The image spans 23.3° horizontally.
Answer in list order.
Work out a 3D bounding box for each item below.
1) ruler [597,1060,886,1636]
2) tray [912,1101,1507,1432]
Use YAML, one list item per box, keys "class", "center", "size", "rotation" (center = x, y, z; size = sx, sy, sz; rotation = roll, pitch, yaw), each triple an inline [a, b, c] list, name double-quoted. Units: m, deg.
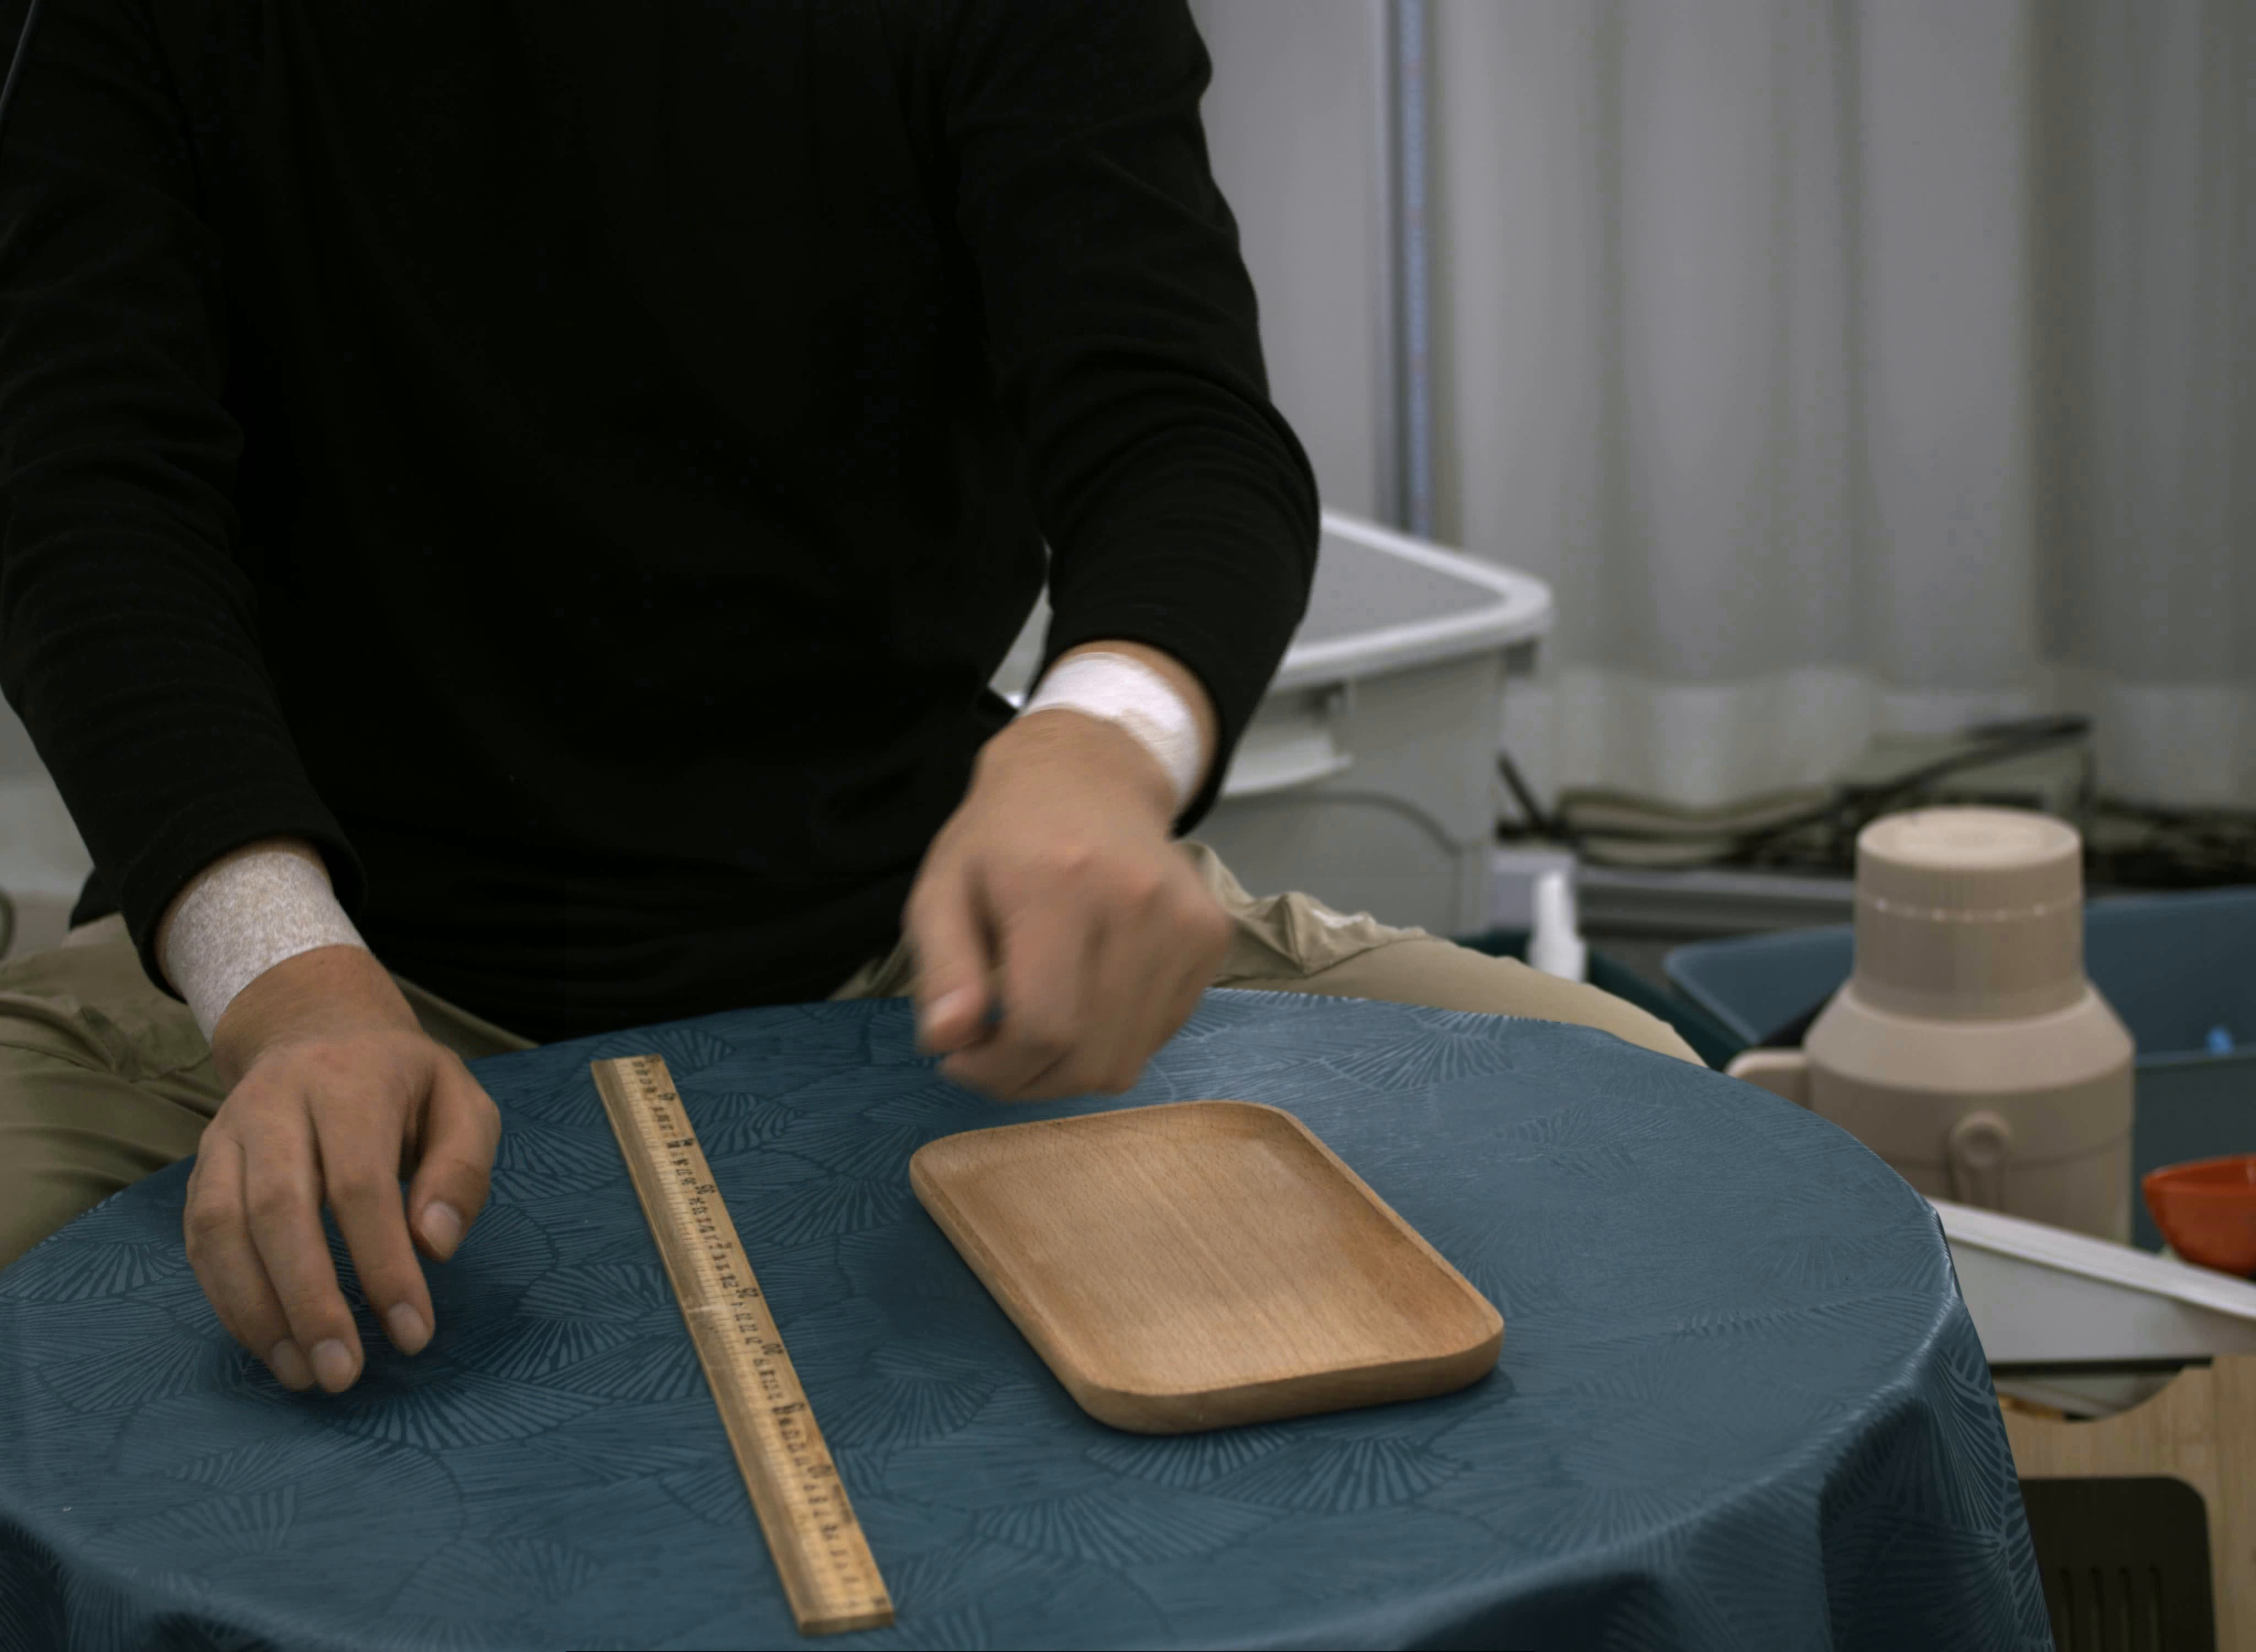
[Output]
- class: "ruler"
  center: [-0.120, 0.142, 1.624]
  size: [0.026, 0.006, 0.504]
  rotation: [-4, 15, -10]
- class: "tray"
  center: [0.020, 0.128, 1.628]
  size: [0.130, 0.023, 0.252]
  rotation: [-4, 14, -14]
